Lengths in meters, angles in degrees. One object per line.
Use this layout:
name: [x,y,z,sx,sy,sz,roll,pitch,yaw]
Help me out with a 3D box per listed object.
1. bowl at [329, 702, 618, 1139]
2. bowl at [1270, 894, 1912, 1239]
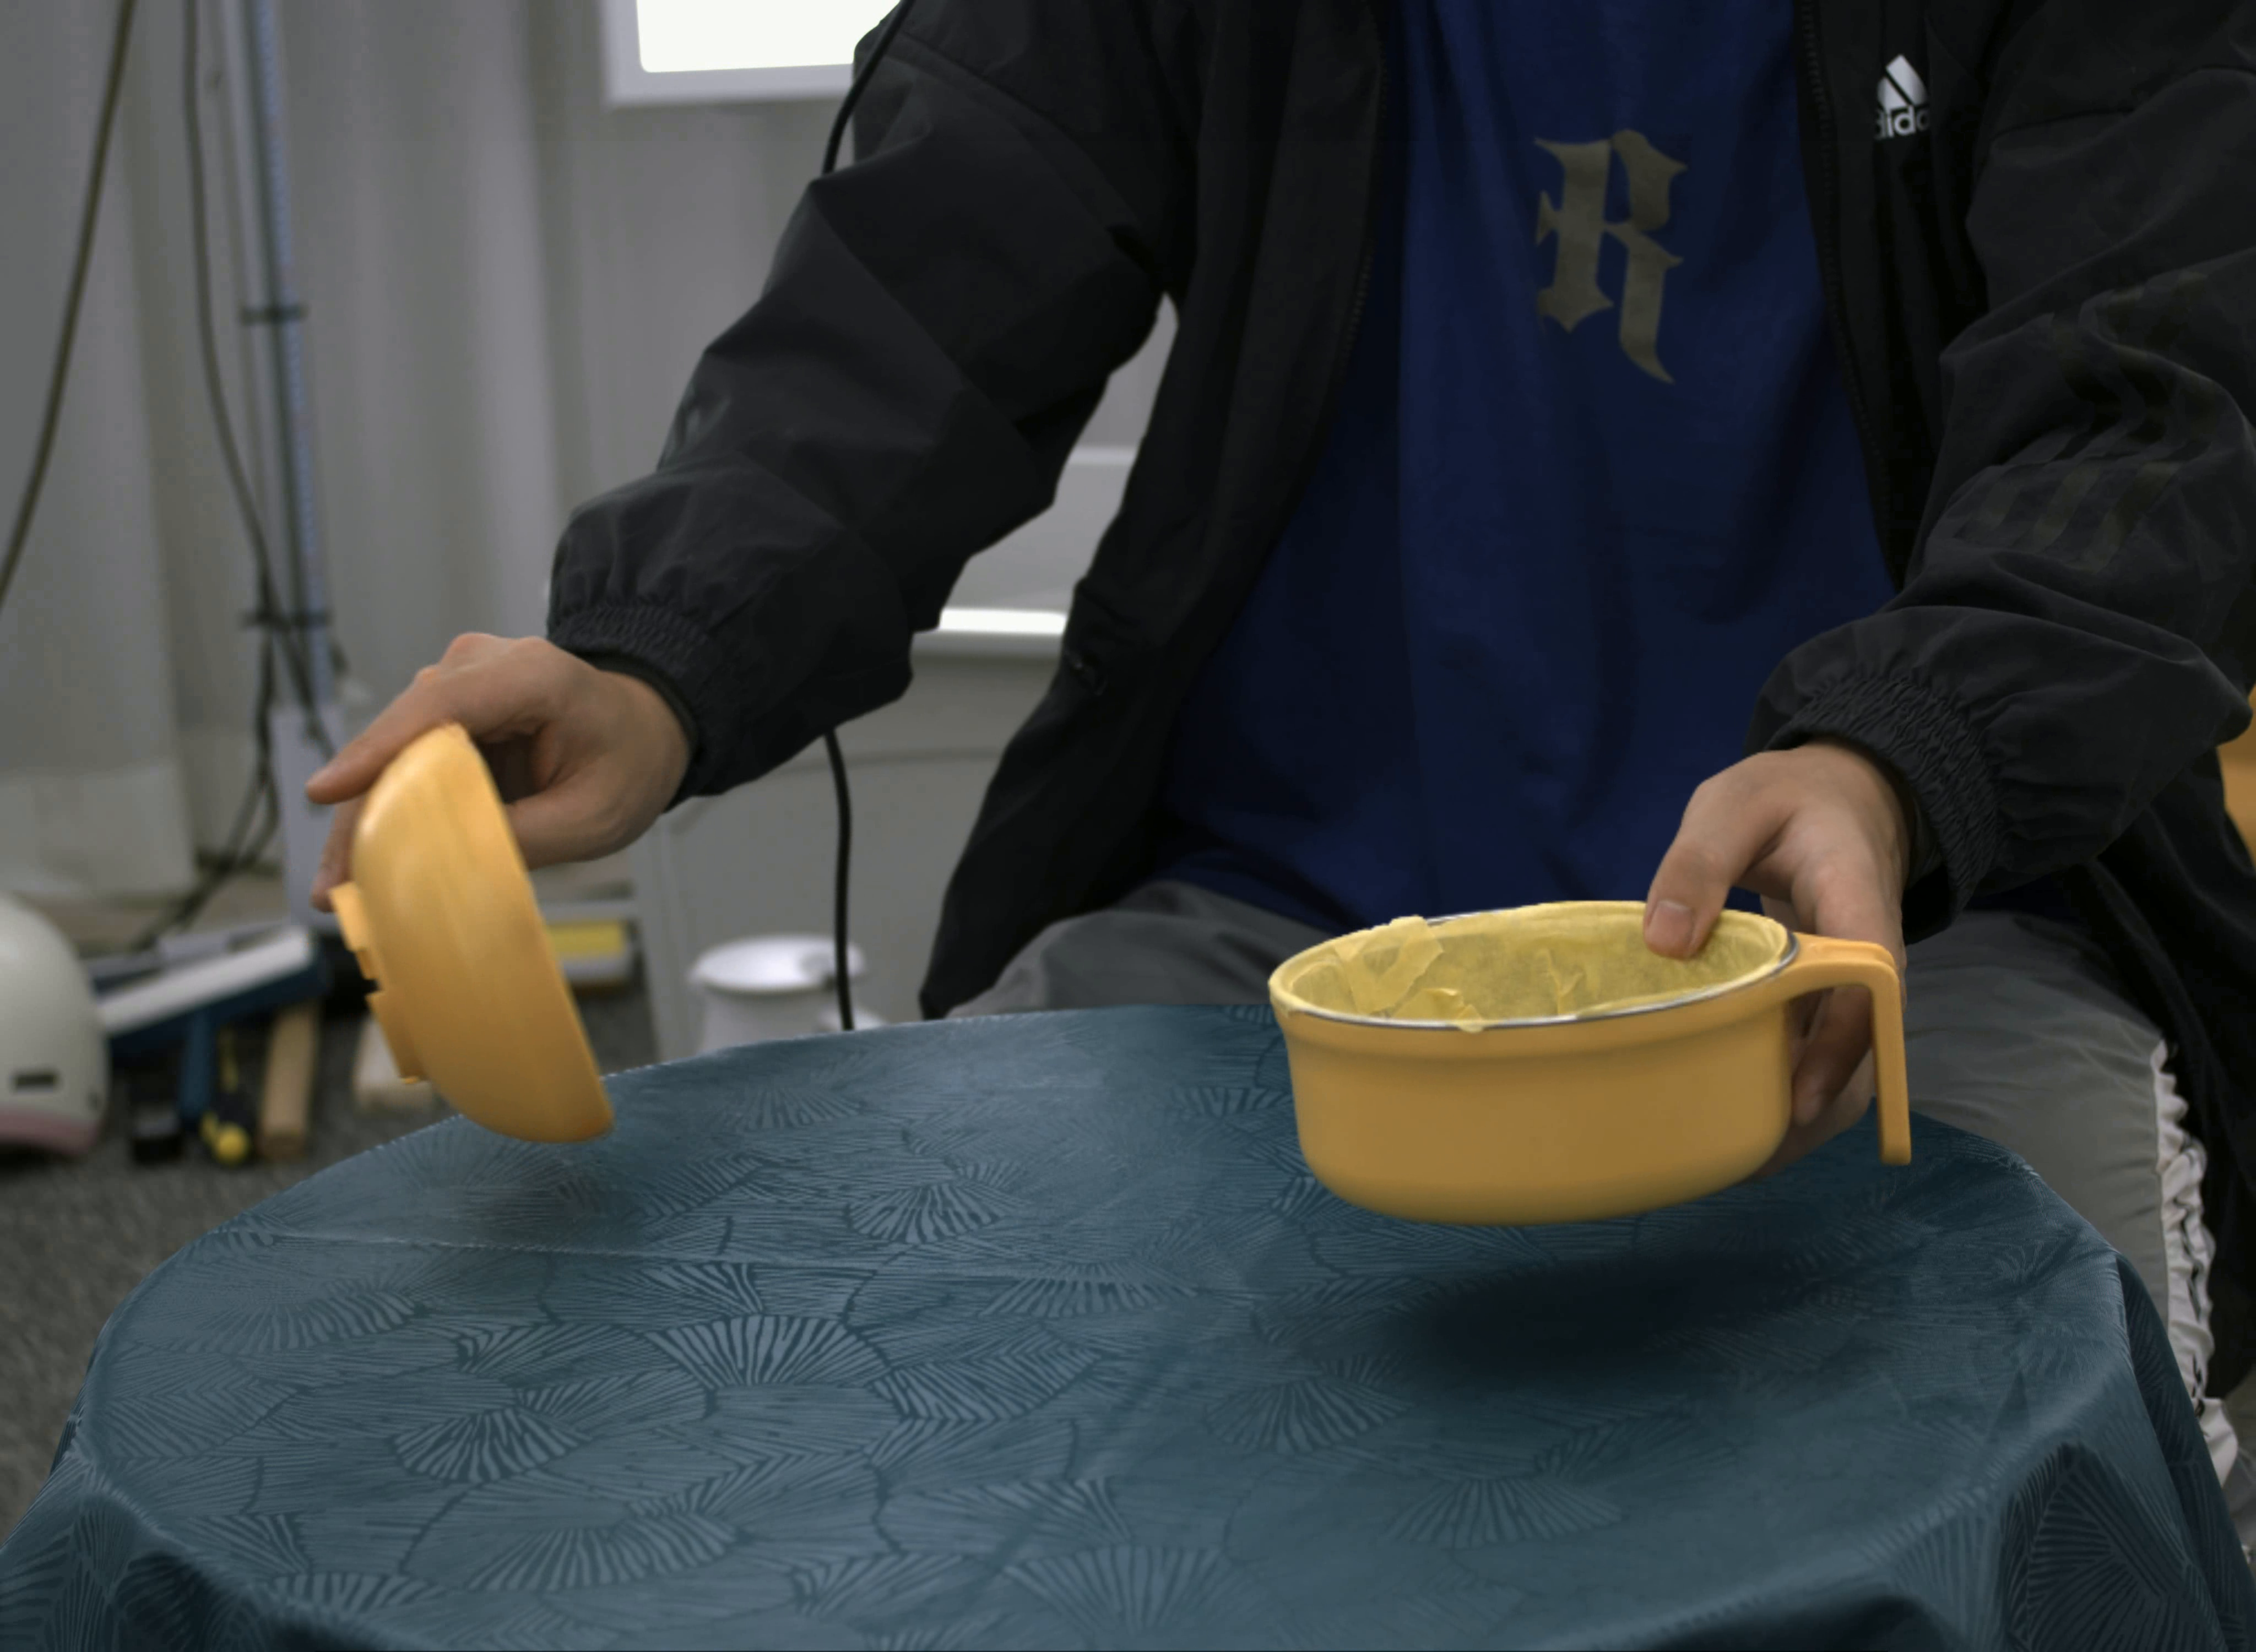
bowl: [-0.211,0.039,1.717,0.060,0.144,0.146,-21,16,-4]
bowl: [0.133,0.070,1.562,0.179,0.074,0.153,-5,9,1]
